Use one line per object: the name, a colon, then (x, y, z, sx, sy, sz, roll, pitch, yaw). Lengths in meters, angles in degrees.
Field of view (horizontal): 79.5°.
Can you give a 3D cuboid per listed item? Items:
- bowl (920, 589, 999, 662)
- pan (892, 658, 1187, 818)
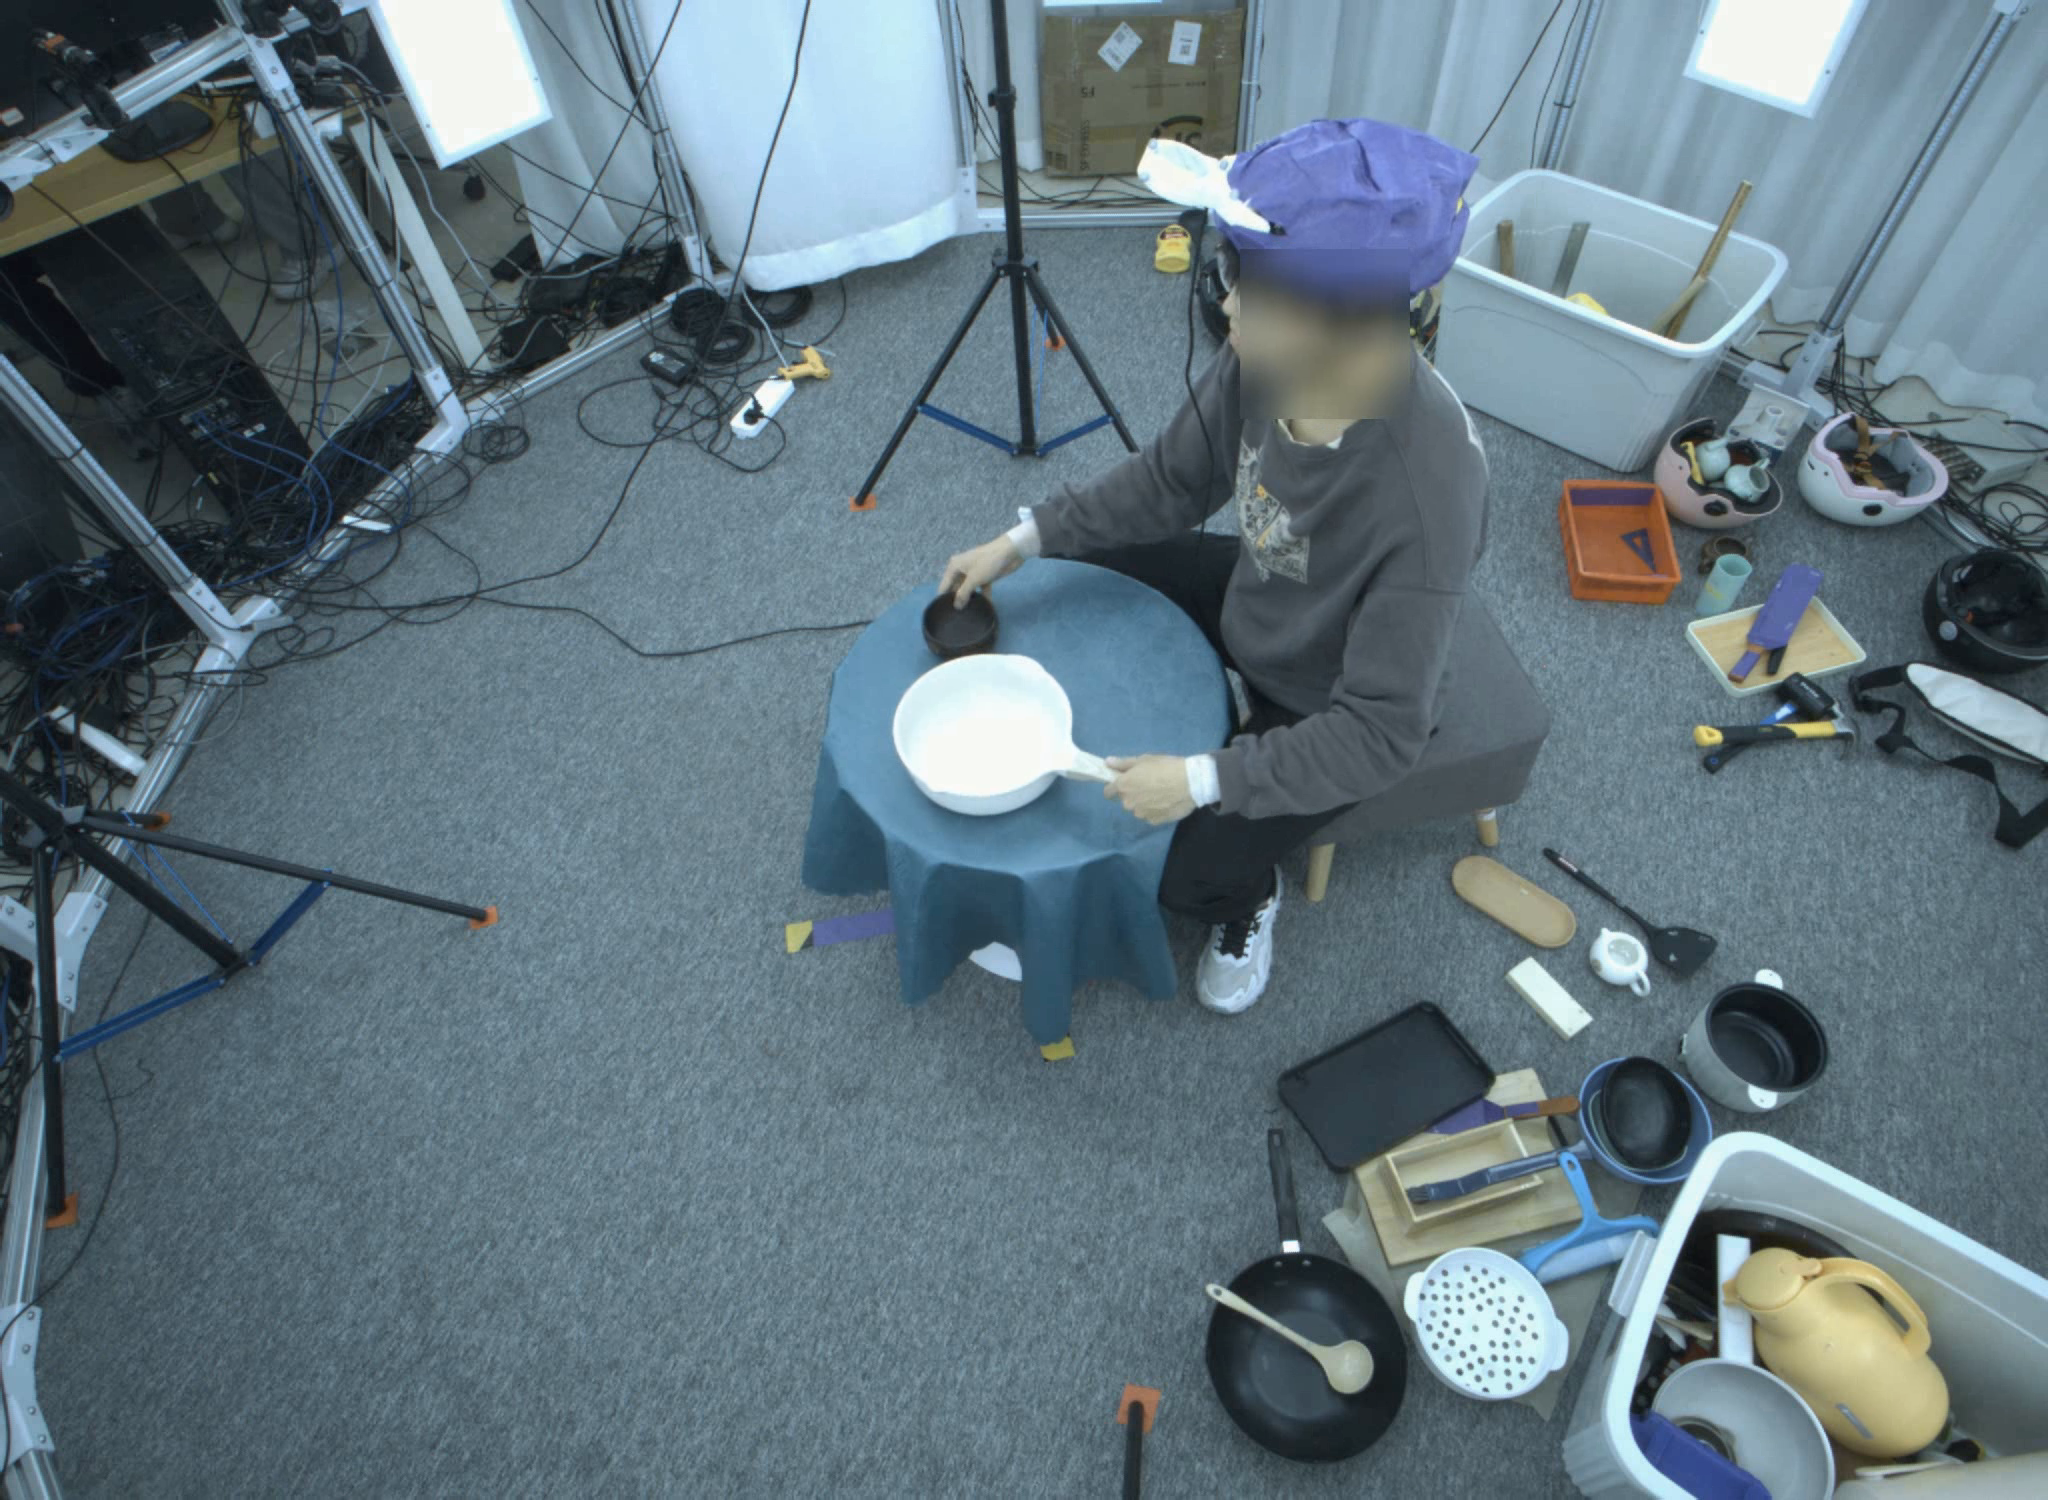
bowl: (-0.097, -0.182, 1.874, 0.118, 0.070, 0.117, -1, 54, 2)
pan: (0.022, 0.017, 1.711, 0.429, 0.103, 0.264, 23, 56, 17)
